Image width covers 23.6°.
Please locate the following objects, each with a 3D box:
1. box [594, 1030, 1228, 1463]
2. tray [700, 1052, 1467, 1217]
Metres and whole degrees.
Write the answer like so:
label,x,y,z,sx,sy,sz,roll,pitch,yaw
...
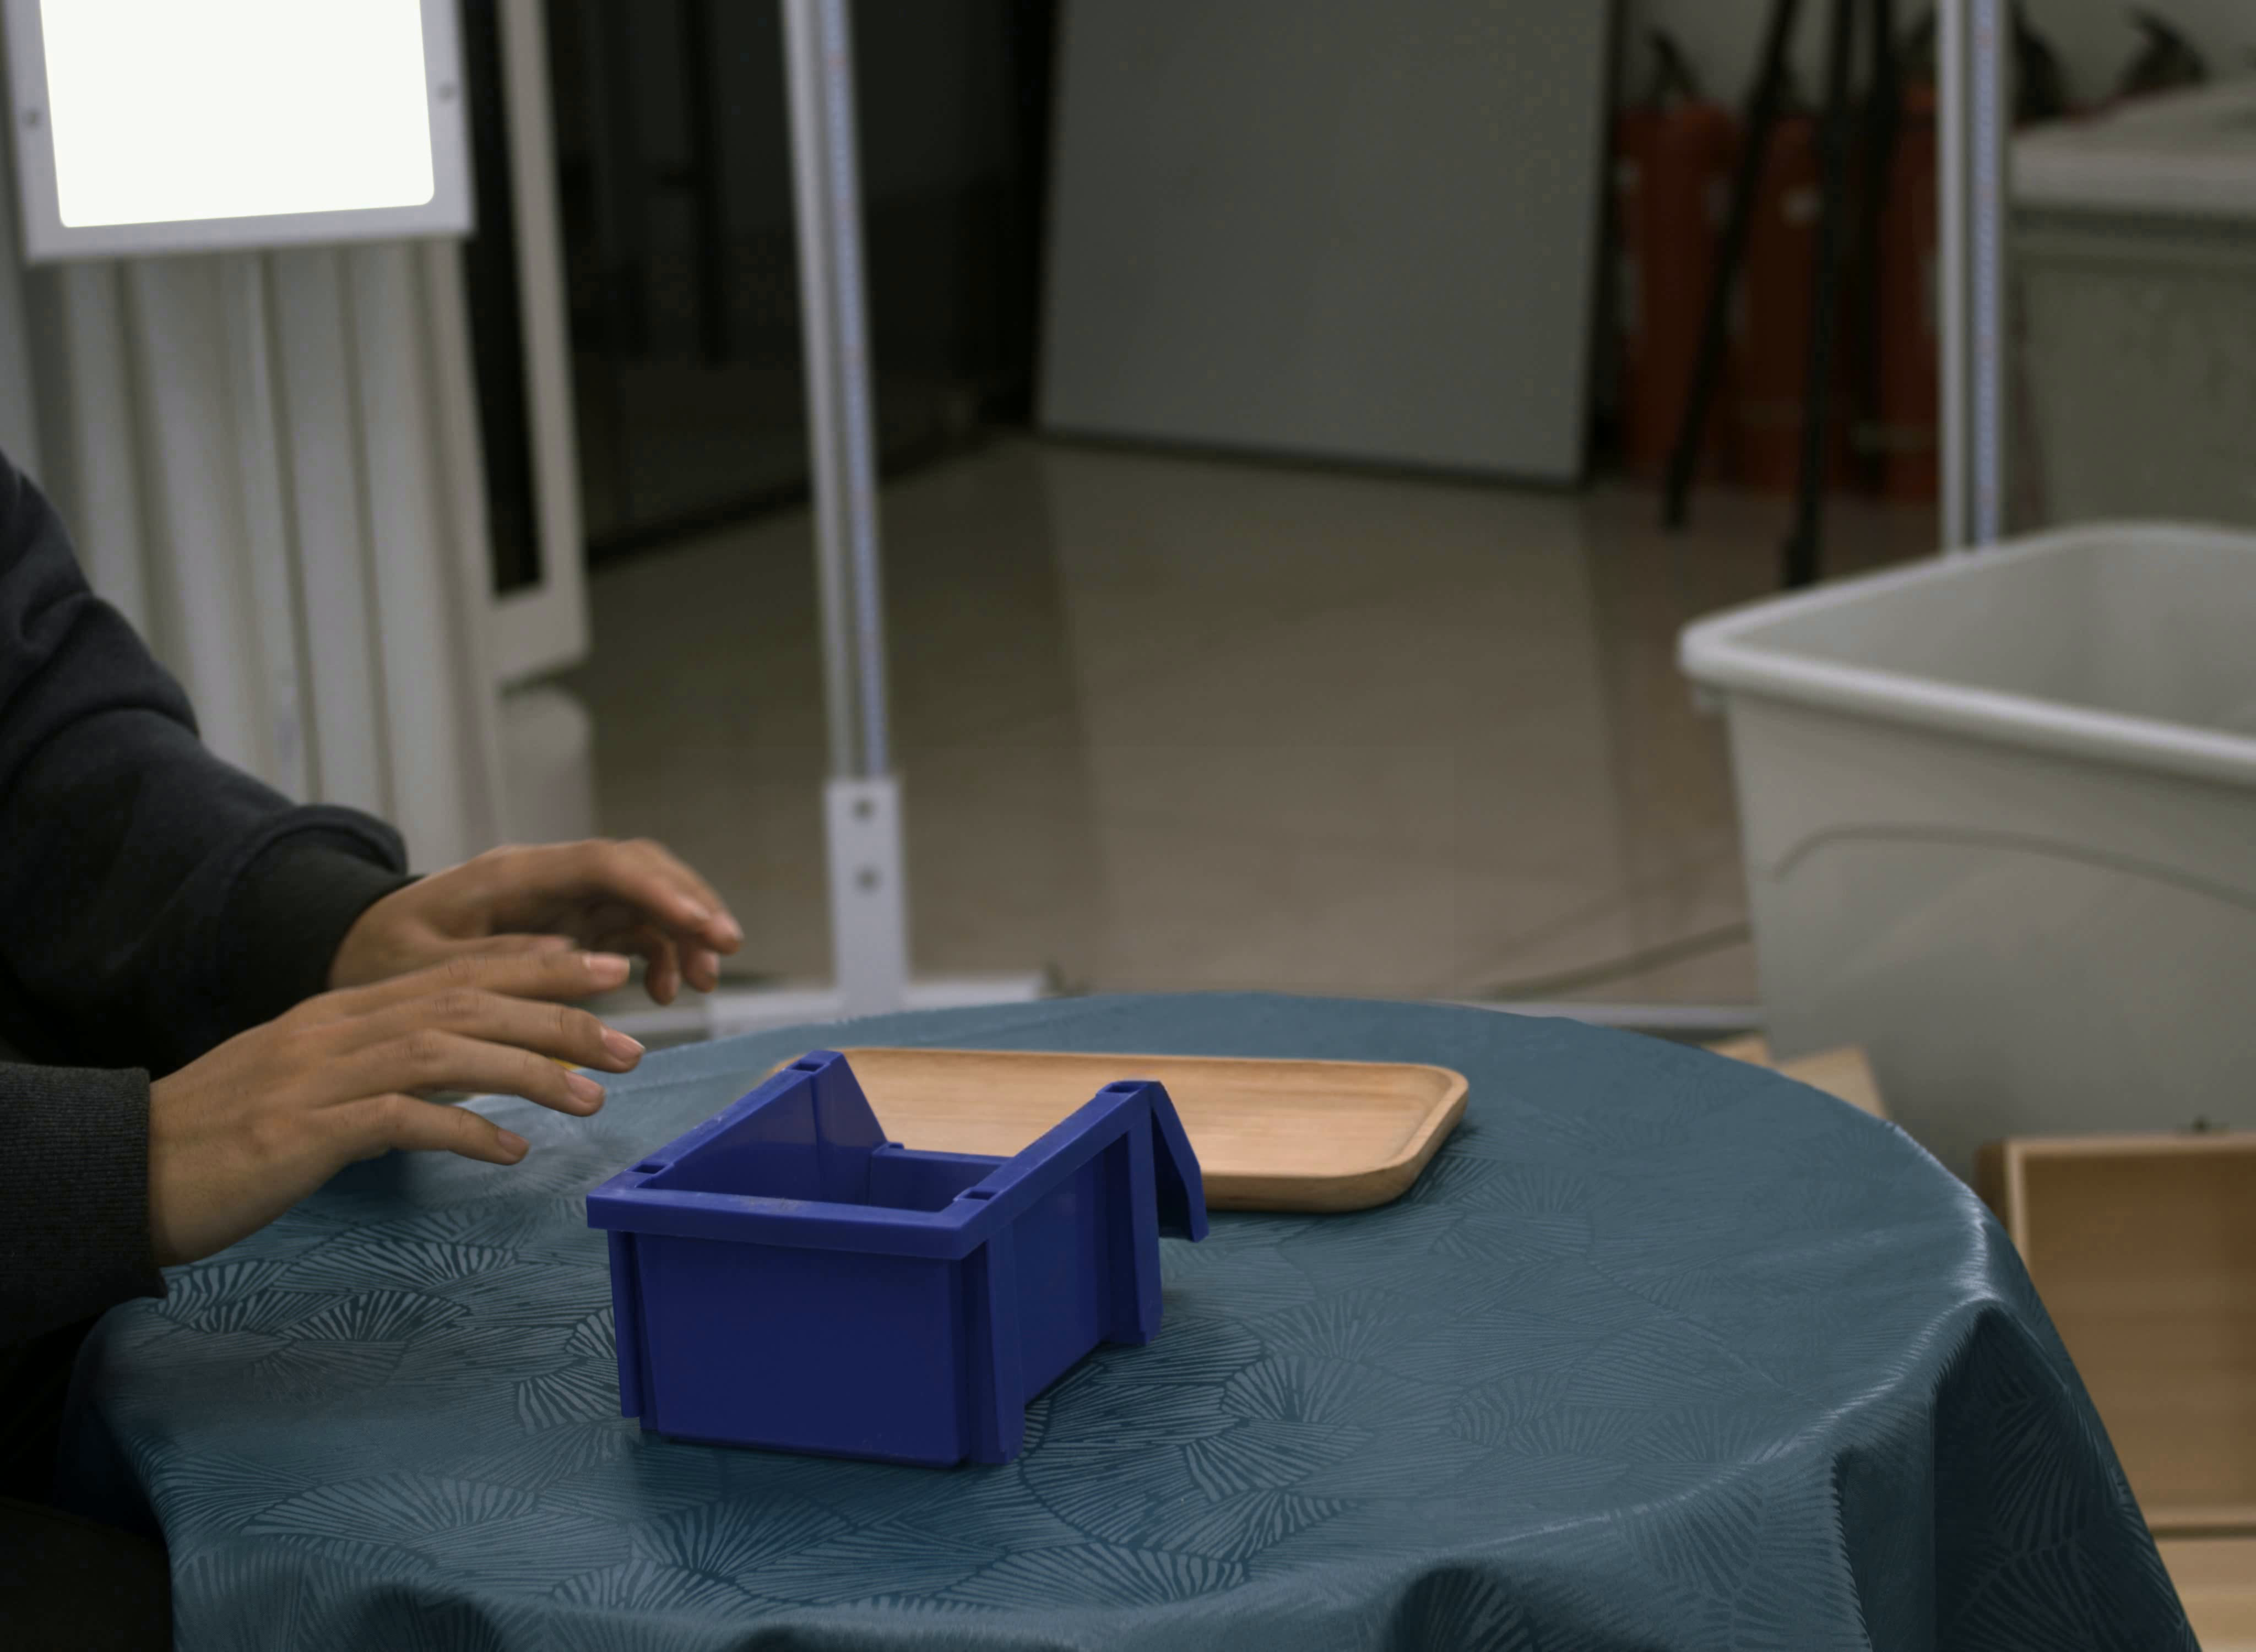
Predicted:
label,x,y,z,sx,sy,sz,roll,pitch,yaw
box,-0.062,0.120,1.615,0.125,0.083,0.177,3,18,26
tray,-0.015,0.103,1.812,0.250,0.023,0.129,0,11,19
